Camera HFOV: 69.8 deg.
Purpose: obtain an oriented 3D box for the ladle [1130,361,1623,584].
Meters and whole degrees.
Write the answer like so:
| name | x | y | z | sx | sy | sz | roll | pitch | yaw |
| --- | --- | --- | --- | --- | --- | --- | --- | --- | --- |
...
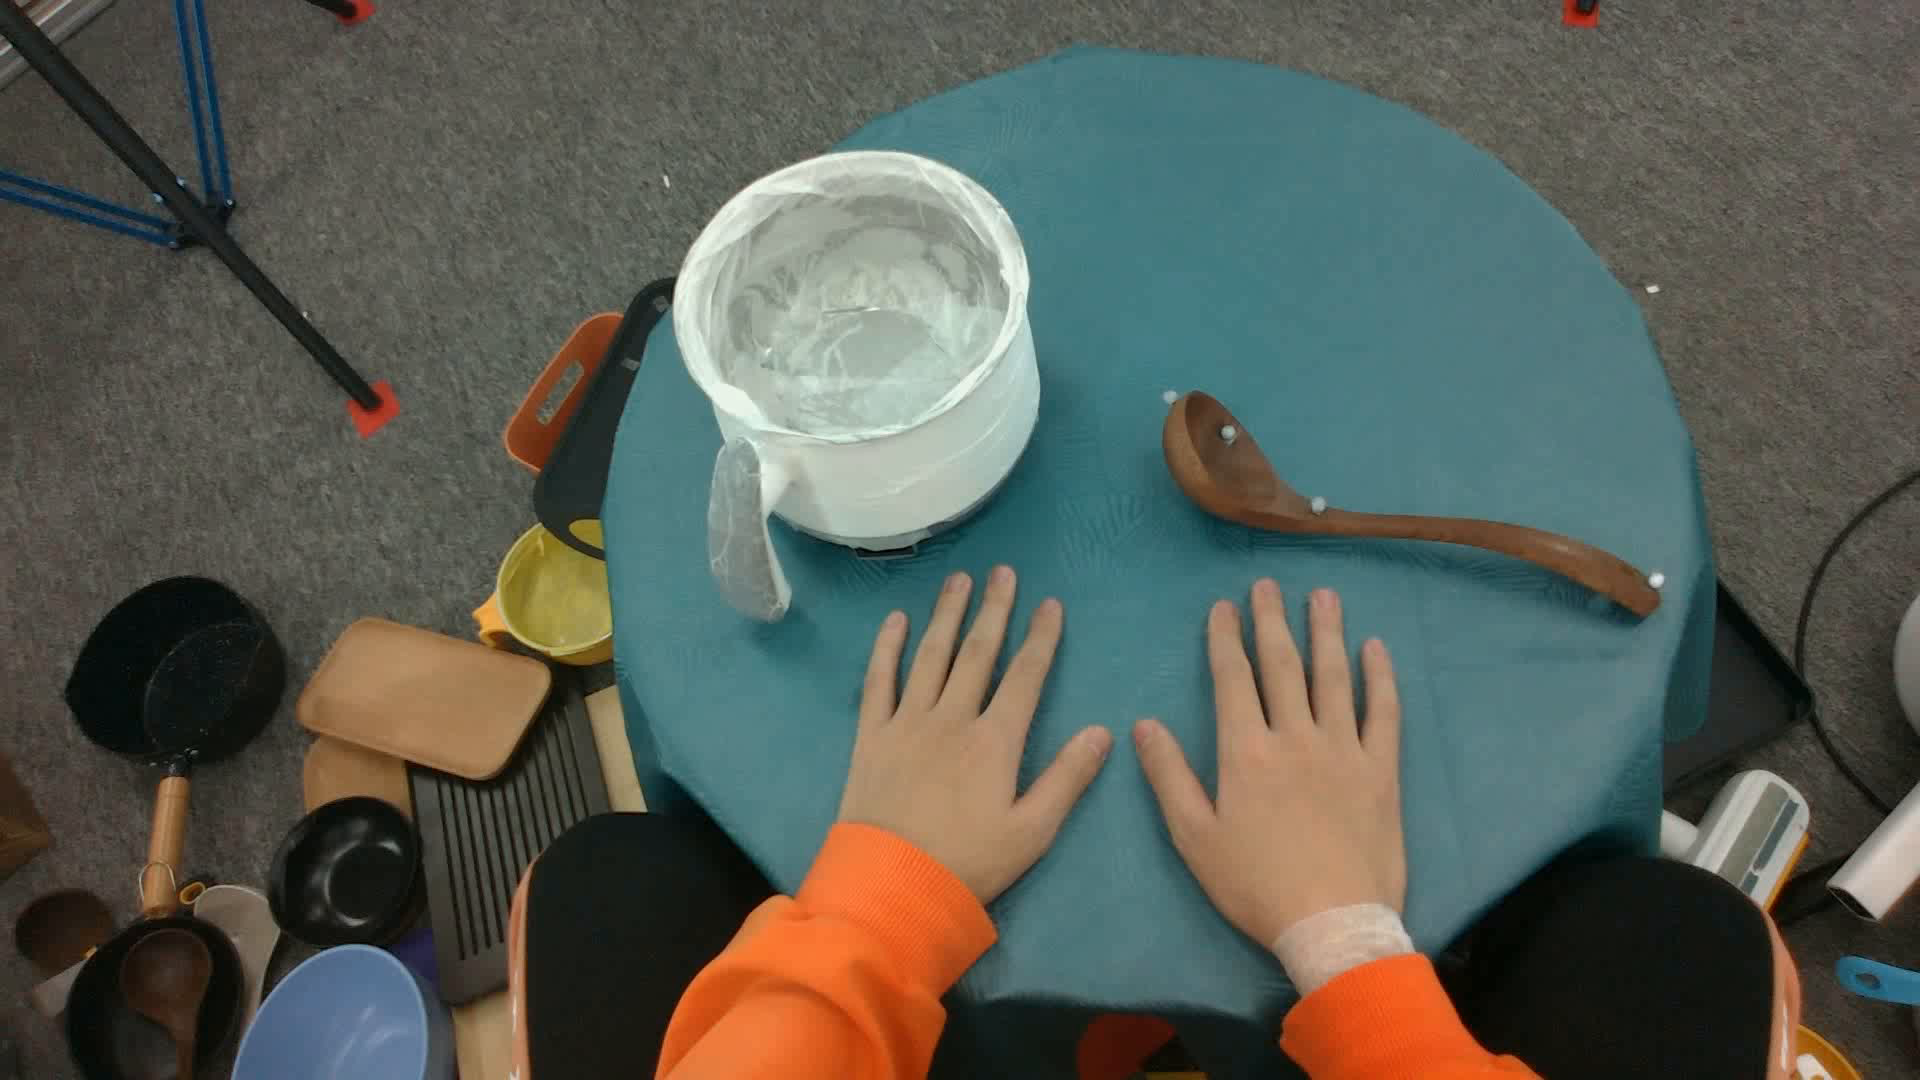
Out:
| name | x | y | z | sx | sy | sz | roll | pitch | yaw |
| --- | --- | --- | --- | --- | --- | --- | --- | --- | --- |
| ladle | 0.214 | -0.034 | 0.711 | 0.260 | 0.065 | 0.077 | 14 | 40 | 13 |

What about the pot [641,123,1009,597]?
| name | x | y | z | sx | sy | sz | roll | pitch | yaw |
| --- | --- | --- | --- | --- | --- | --- | --- | --- | --- |
| pot | -0.076 | -0.086 | 0.721 | 0.178 | 0.136 | 0.234 | 22 | 68 | 16 |
